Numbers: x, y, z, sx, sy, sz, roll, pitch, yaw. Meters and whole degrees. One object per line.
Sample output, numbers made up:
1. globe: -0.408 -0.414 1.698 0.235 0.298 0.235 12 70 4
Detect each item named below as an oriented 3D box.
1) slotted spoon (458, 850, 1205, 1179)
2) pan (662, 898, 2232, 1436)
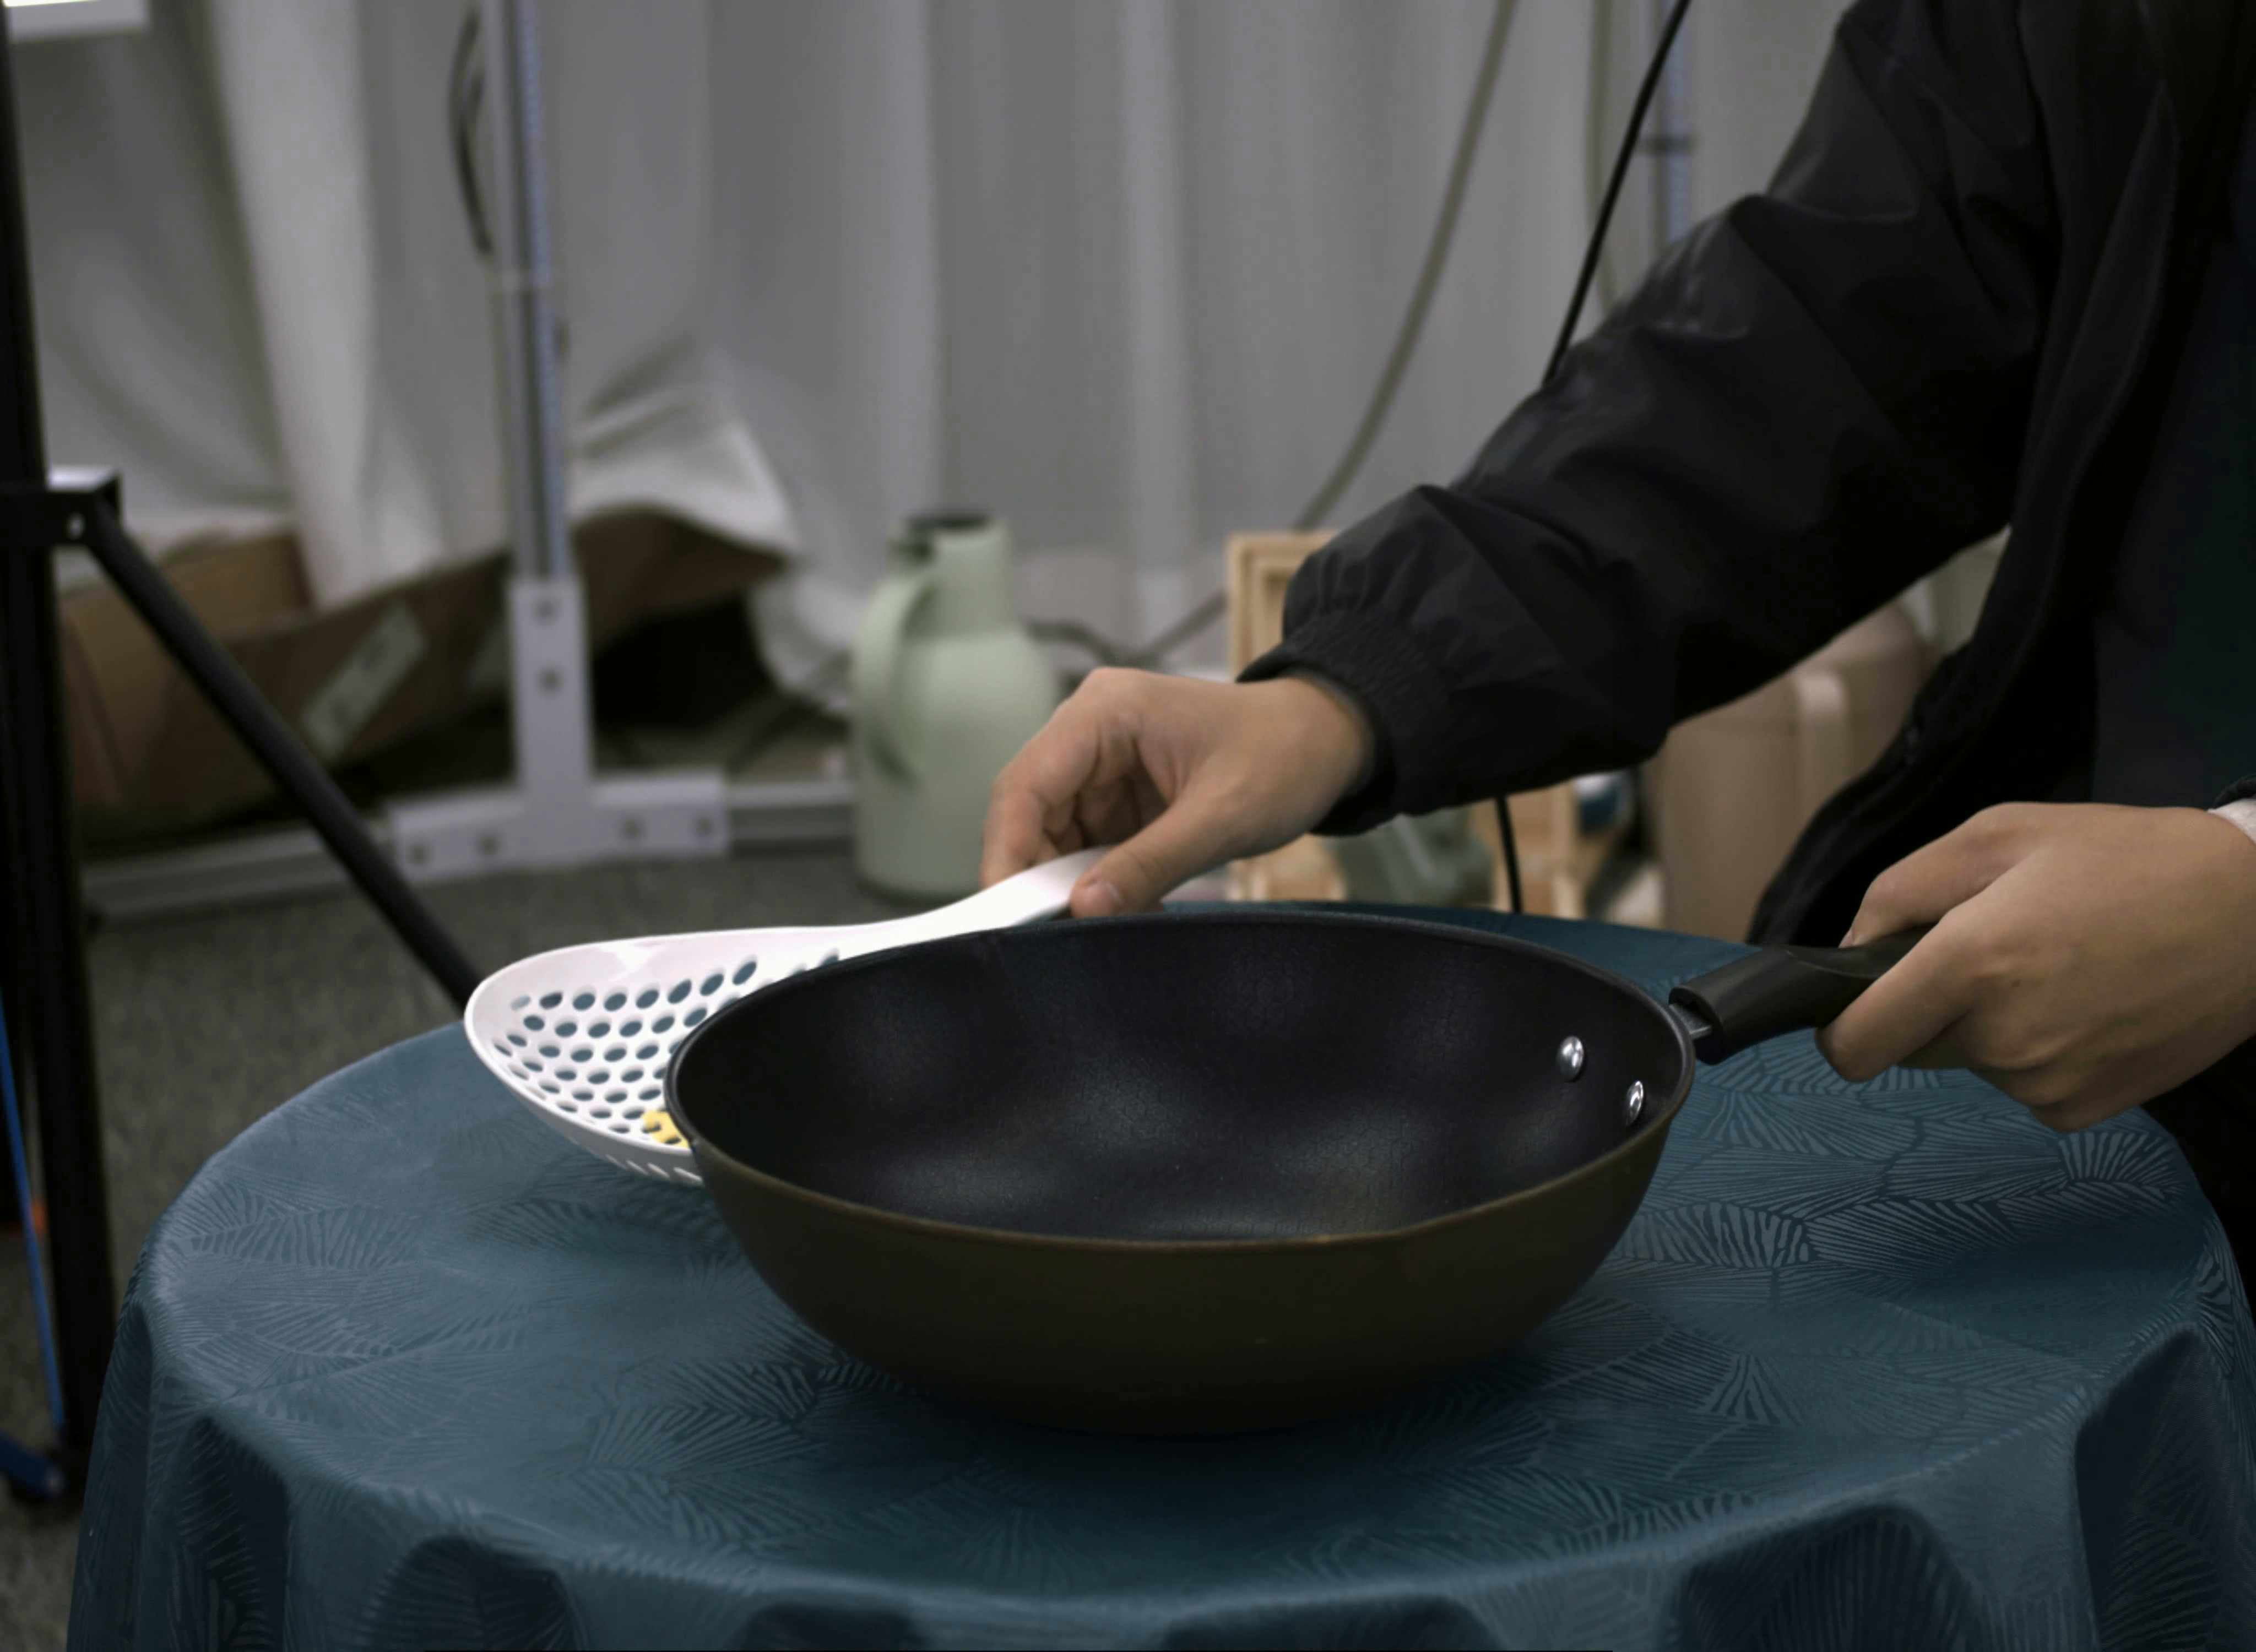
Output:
1. slotted spoon: -0.069 0.047 1.678 0.139 0.050 0.341 22 30 30
2. pan: 0.099 0.087 1.464 0.455 0.087 0.293 -7 17 -19
